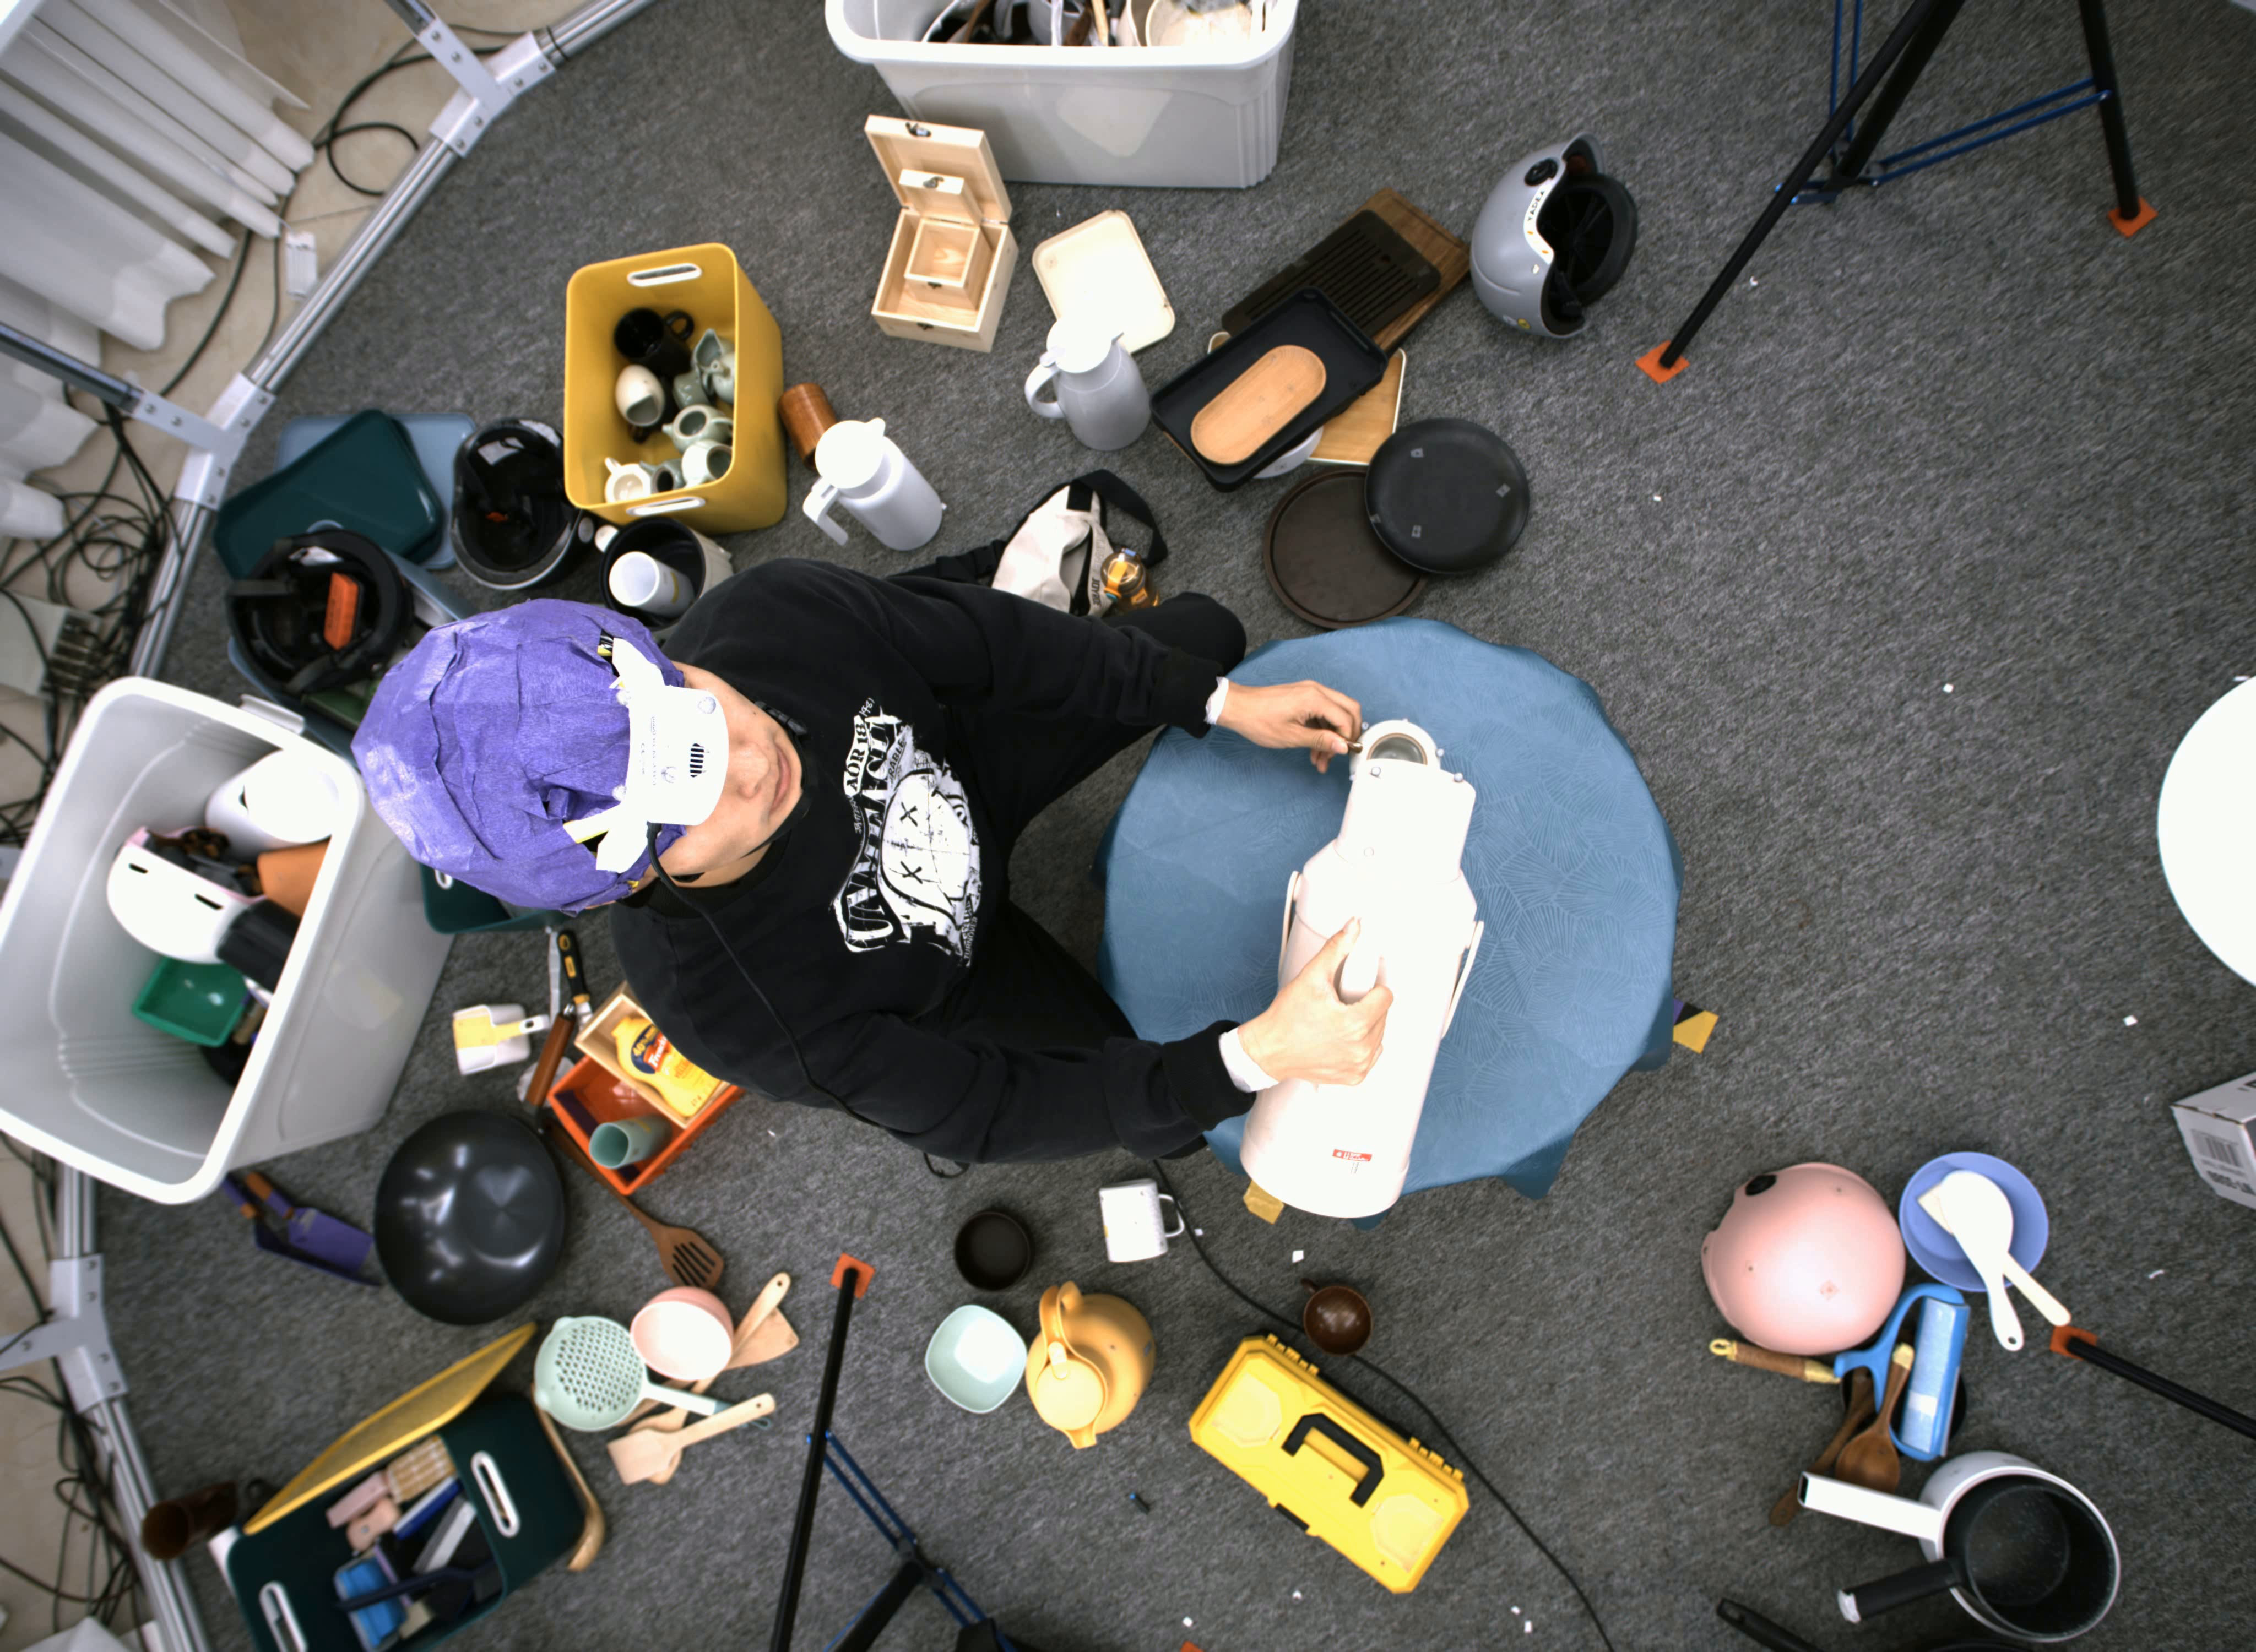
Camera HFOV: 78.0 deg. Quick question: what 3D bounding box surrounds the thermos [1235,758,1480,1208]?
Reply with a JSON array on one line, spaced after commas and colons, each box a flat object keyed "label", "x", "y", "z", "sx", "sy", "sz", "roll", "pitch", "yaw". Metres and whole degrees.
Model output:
[{"label": "thermos", "x": 0.208, "y": 0.146, "z": 1.257, "sx": 0.175, "sy": 0.203, "sz": 0.414, "roll": 17, "pitch": 115, "yaw": 13}]

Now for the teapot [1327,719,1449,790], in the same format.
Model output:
[{"label": "teapot", "x": 0.263, "y": -0.067, "z": 1.399, "sx": 0.128, "sy": 0.059, "sz": 0.092, "roll": 21, "pitch": 96, "yaw": 6}]
